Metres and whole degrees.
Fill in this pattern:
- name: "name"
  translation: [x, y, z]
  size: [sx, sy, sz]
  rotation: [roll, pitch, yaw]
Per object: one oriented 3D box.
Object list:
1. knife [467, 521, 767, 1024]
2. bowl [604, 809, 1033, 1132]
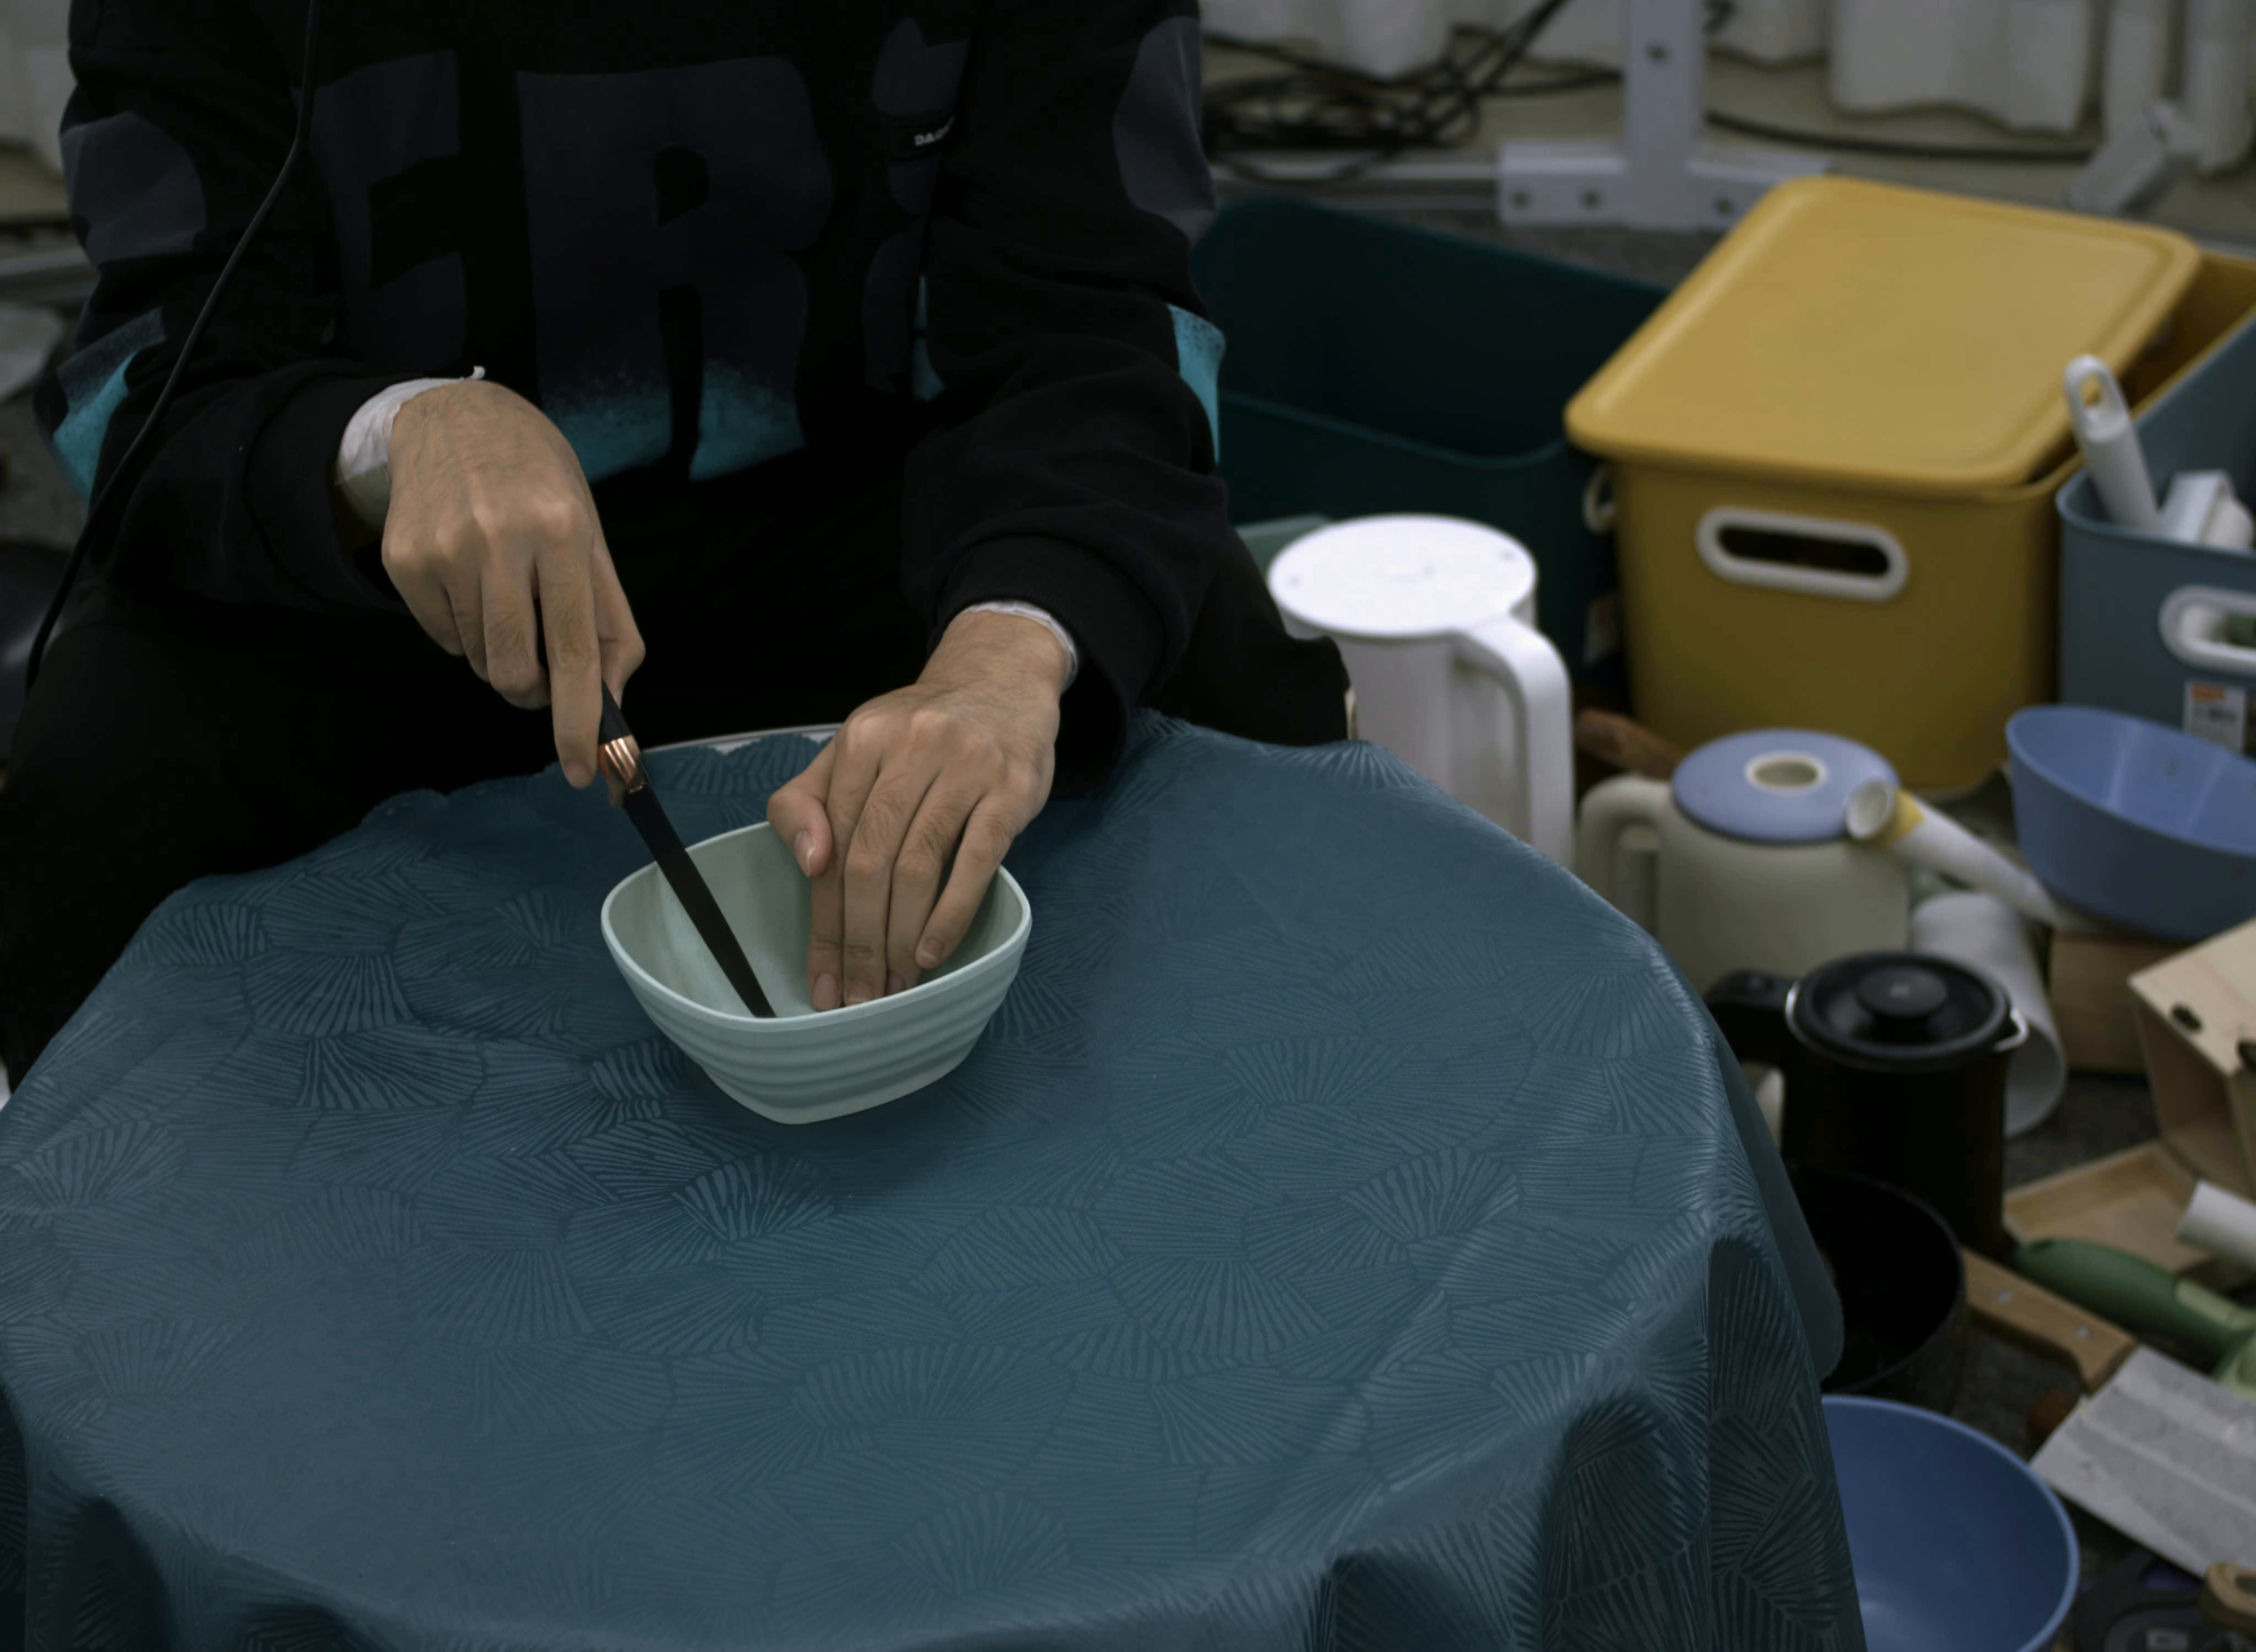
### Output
- name: "knife"
  translation: [-0.172, -0.008, 1.959]
  size: [0.017, 0.026, 0.227]
  rotation: [-18, 72, -44]
- name: "bowl"
  translation: [-0.105, 0.056, 1.941]
  size: [0.150, 0.058, 0.154]
  rotation: [-3, 28, 2]
